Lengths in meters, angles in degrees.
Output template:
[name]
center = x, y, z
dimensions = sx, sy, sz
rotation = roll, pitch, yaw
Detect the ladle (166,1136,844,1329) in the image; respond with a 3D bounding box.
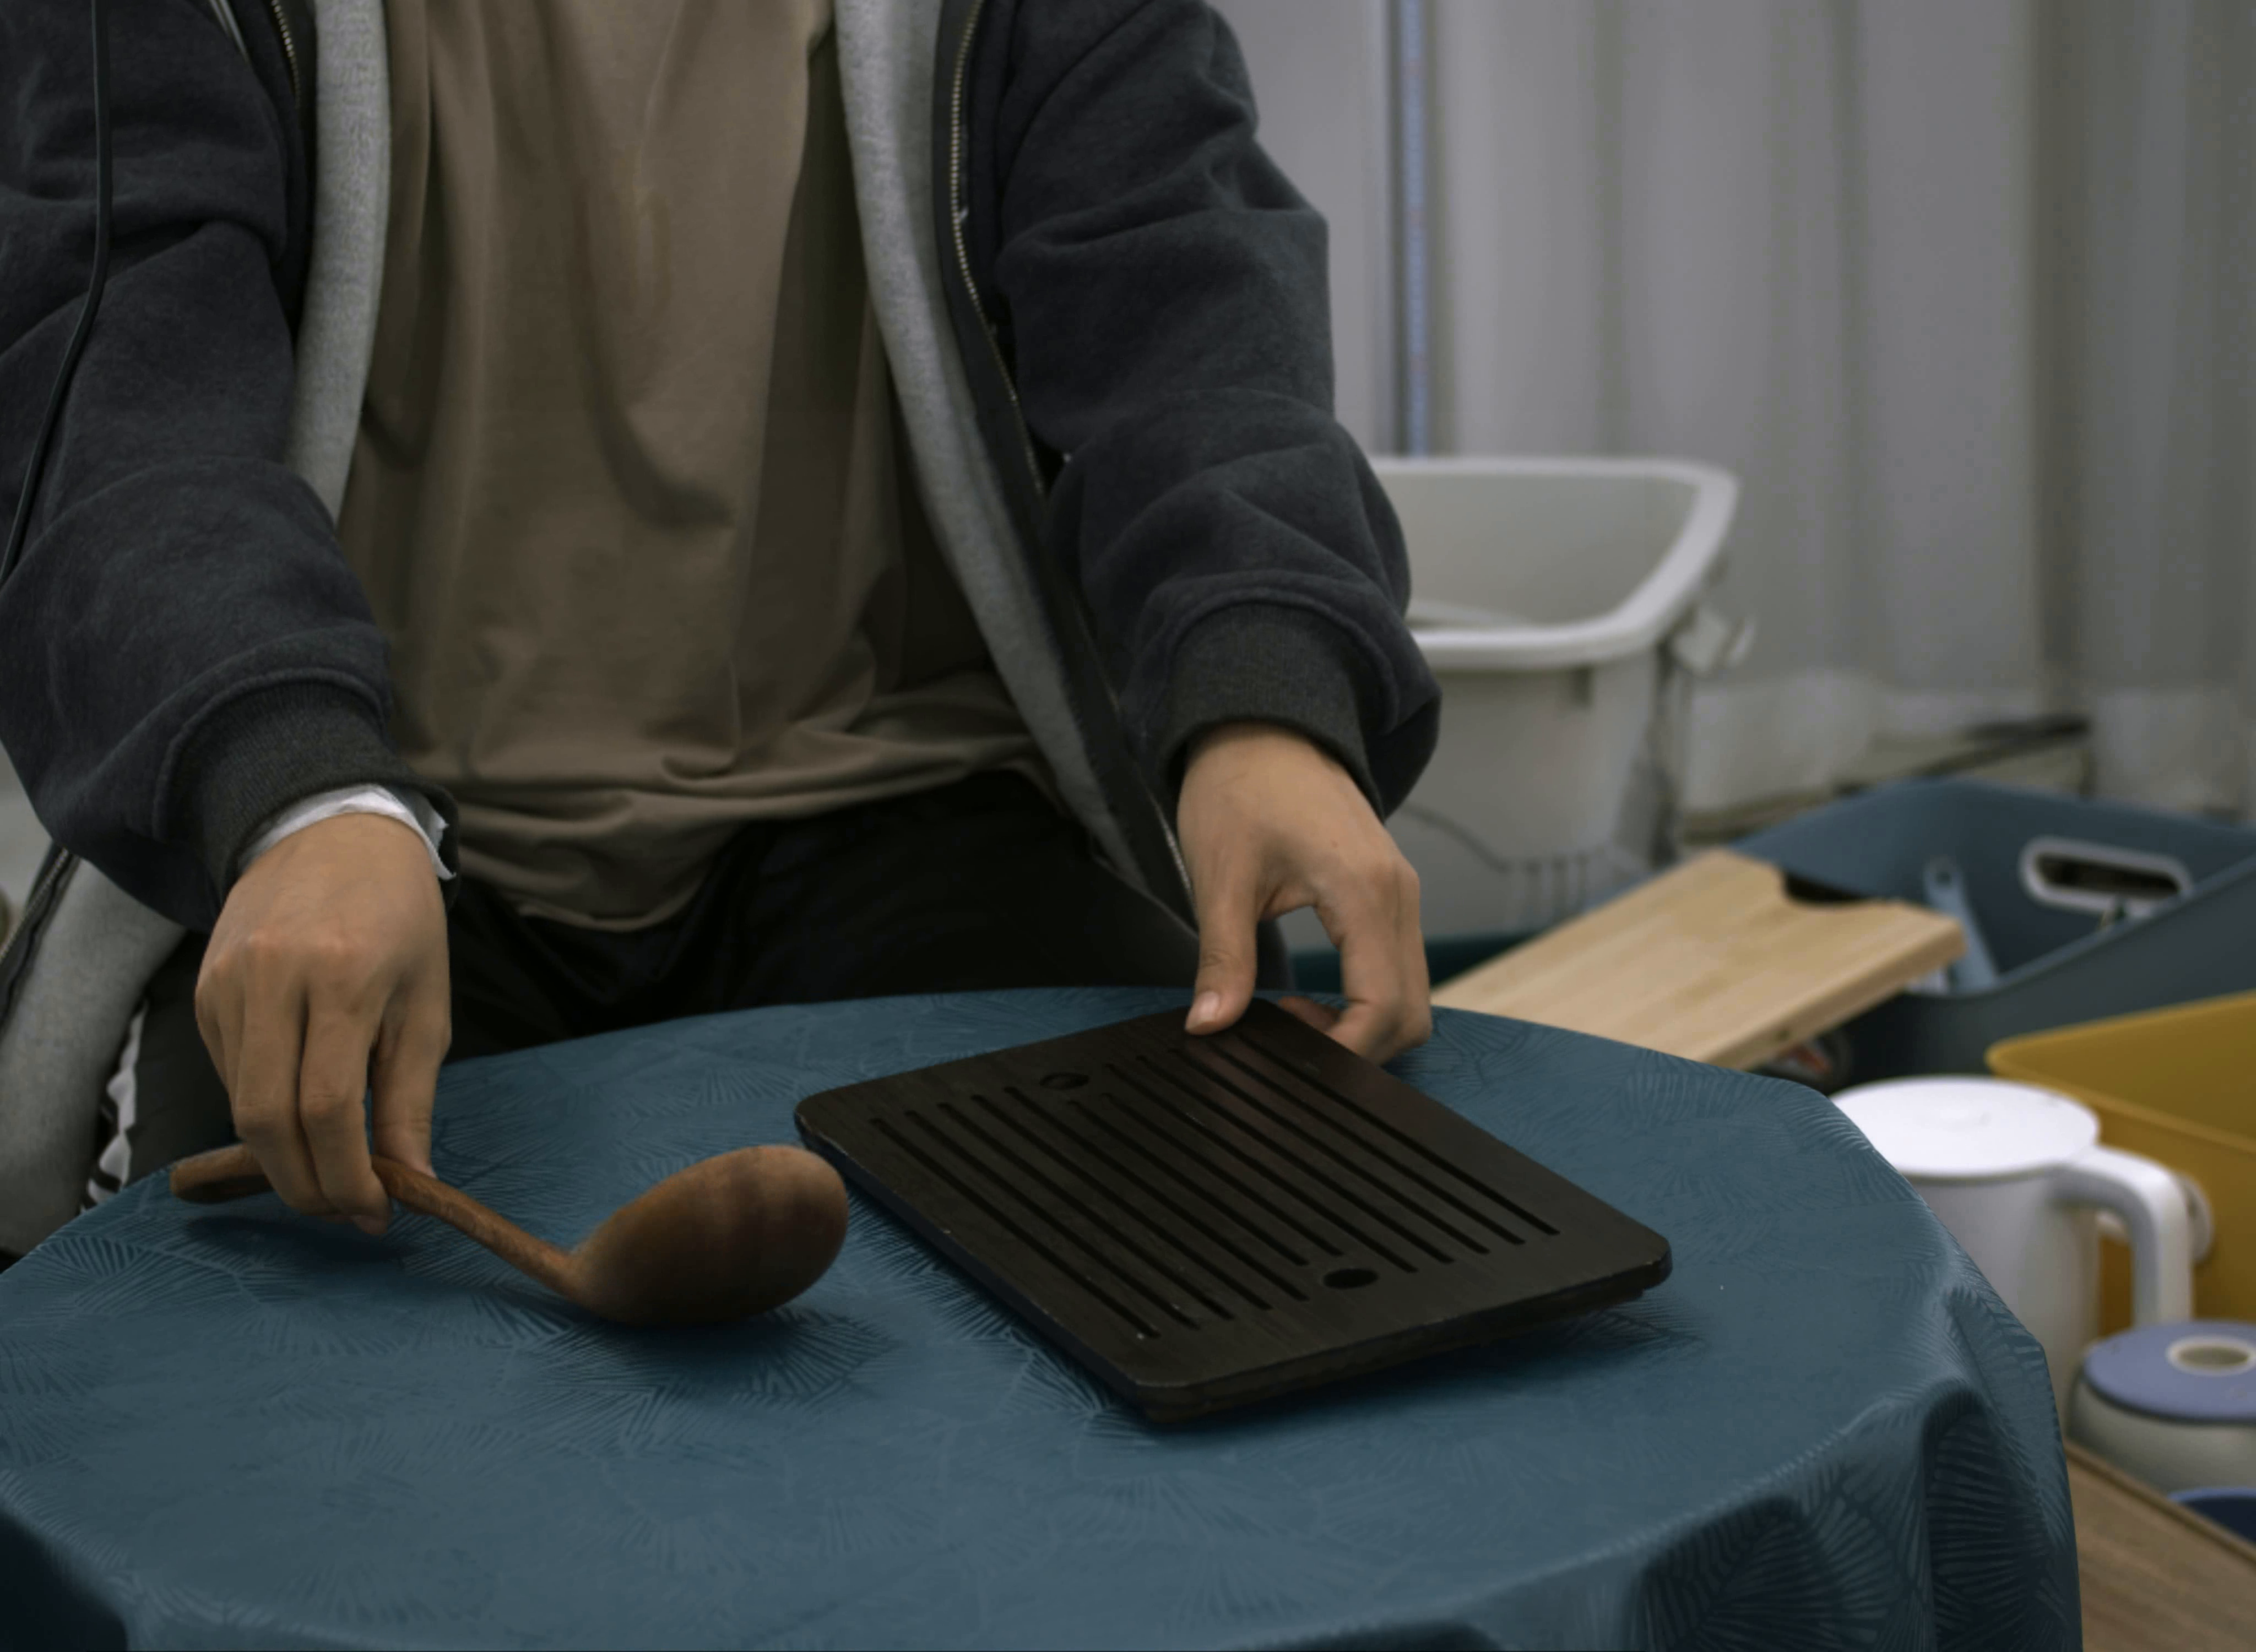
[ladle]
center = -0.194, 0.107, 1.658
dimensions = 0.261, 0.065, 0.075
rotation = 10, -9, 39

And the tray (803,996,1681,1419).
[tray]
center = 0.027, 0.112, 1.669
dimensions = 0.169, 0.018, 0.308
rotation = -12, 17, -20
